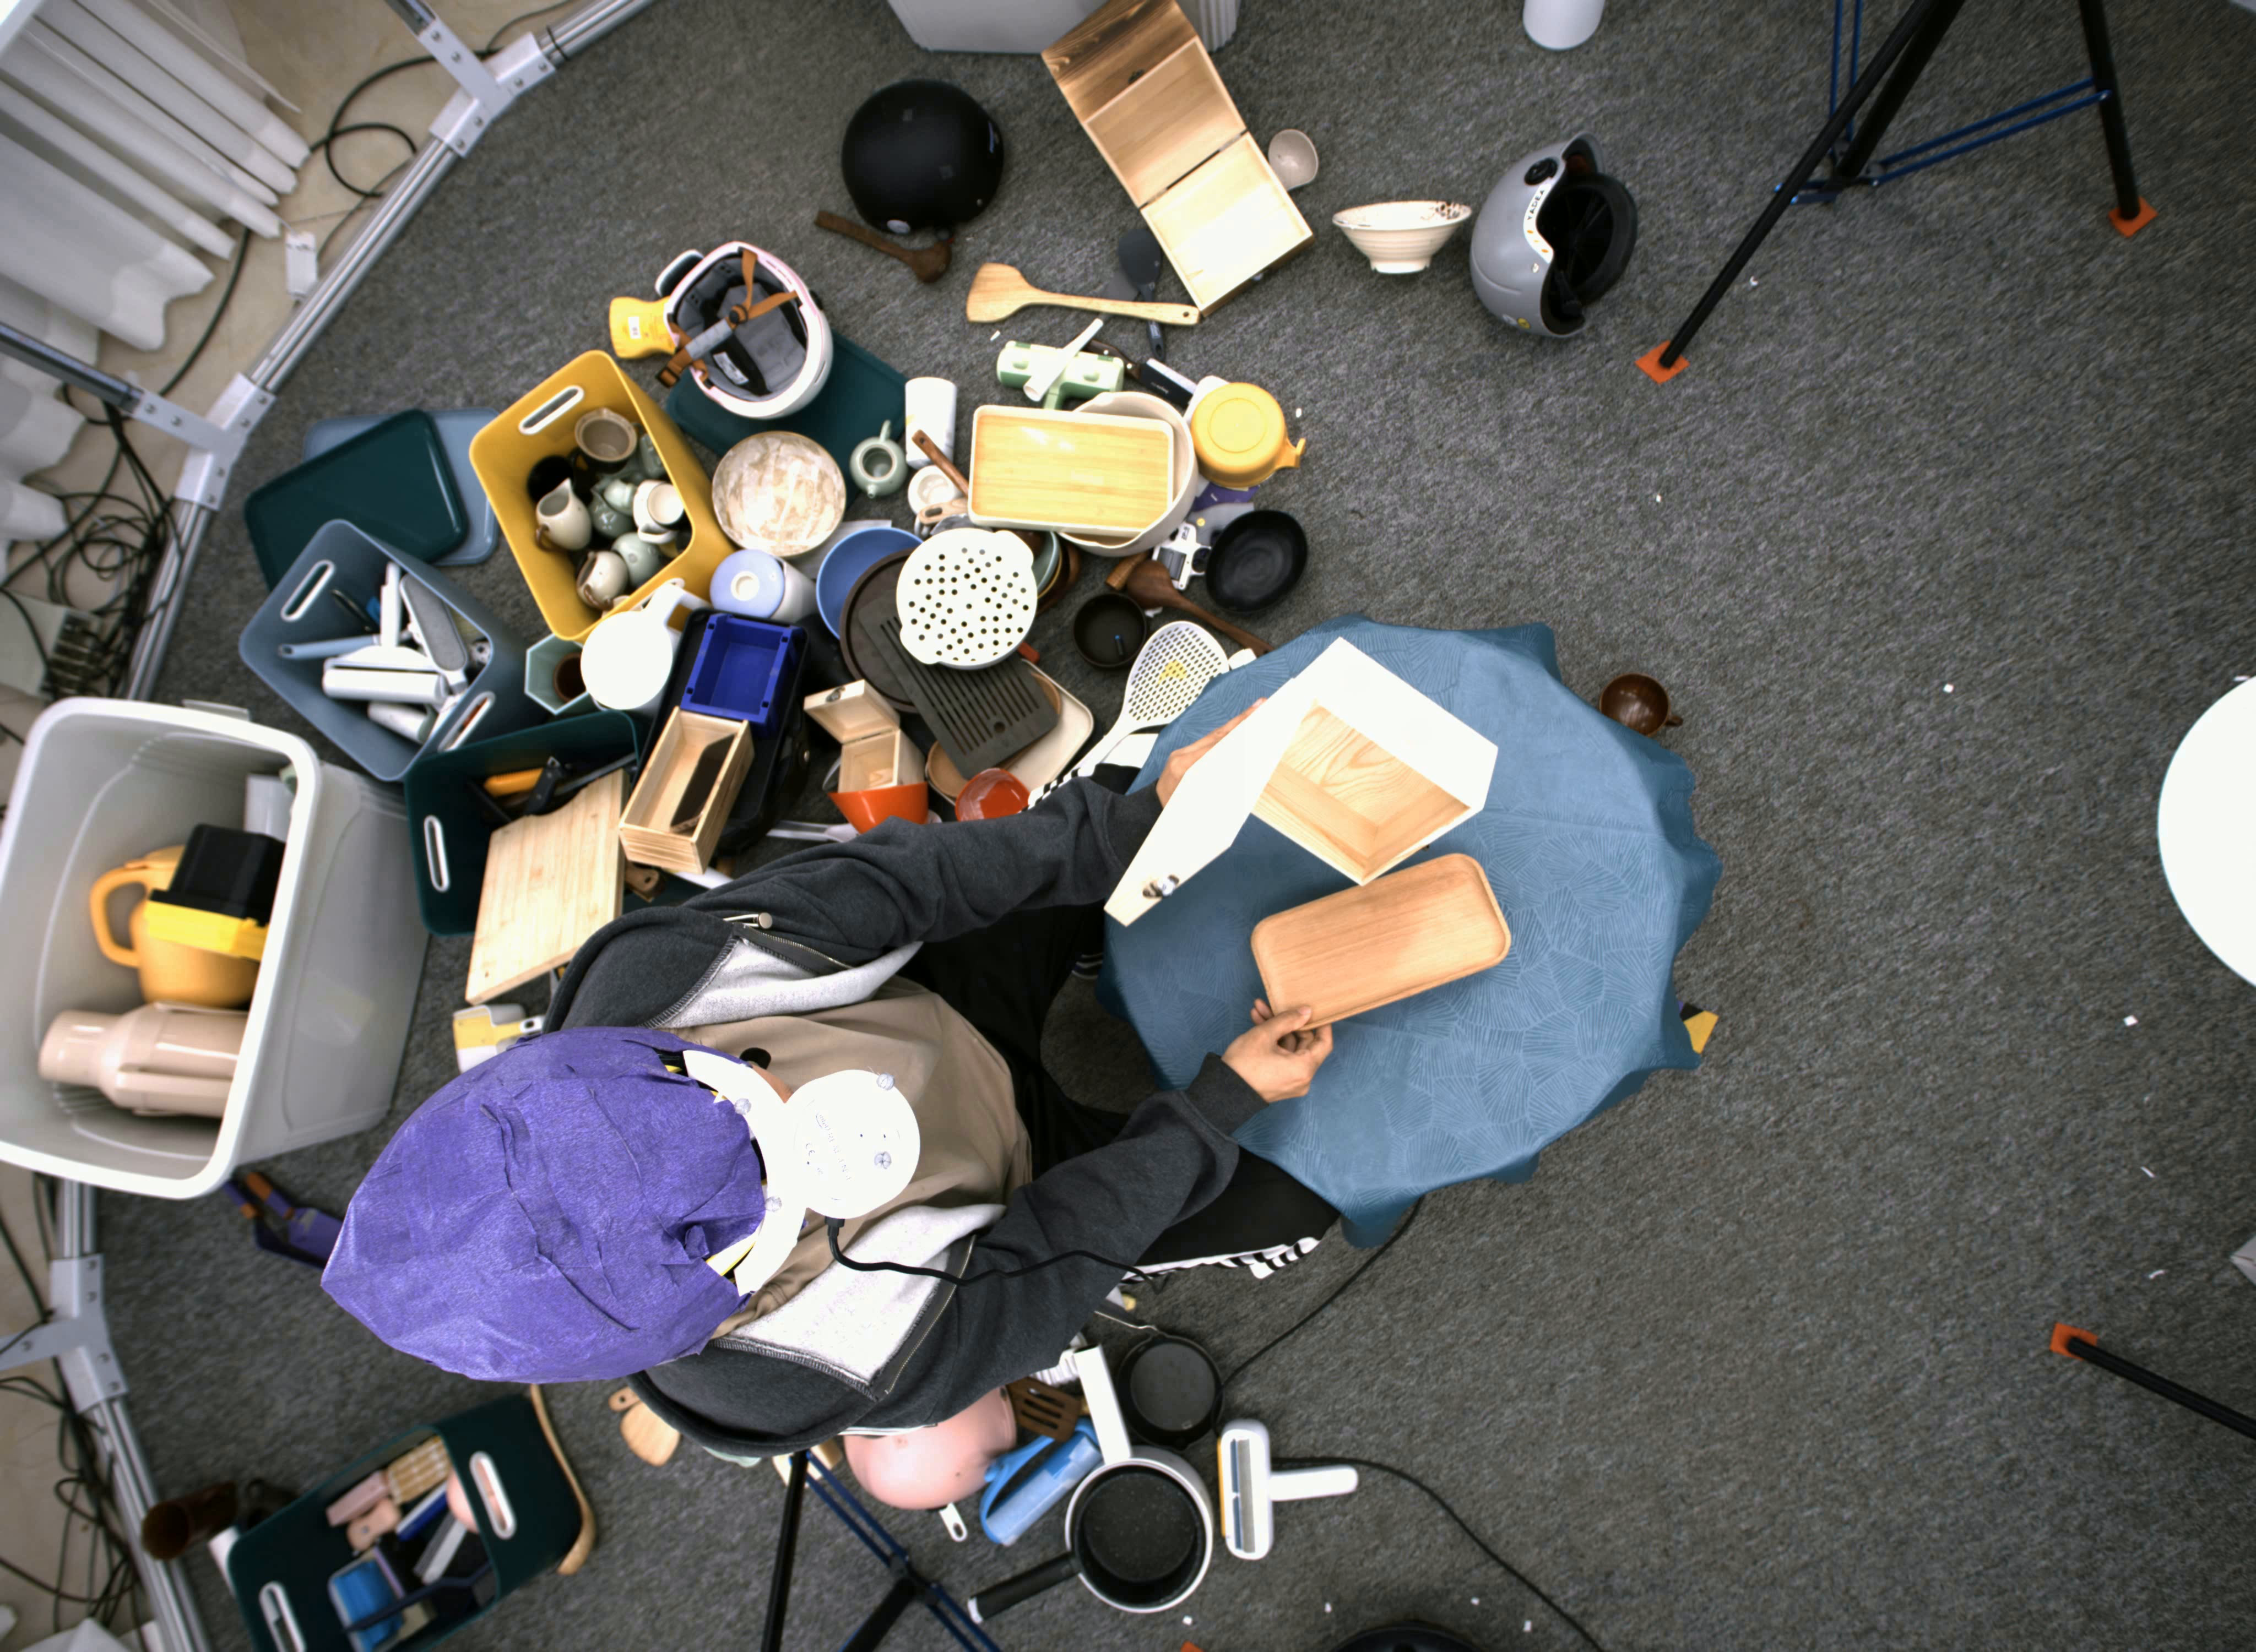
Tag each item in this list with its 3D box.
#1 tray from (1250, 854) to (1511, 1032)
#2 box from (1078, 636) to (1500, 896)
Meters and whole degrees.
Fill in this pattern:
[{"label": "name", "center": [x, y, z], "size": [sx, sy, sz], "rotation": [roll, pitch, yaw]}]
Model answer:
[{"label": "tray", "center": [0.255, 0.118, 1.406], "size": [0.252, 0.023, 0.128], "rotation": [-20, 64, 6]}, {"label": "box", "center": [0.147, -0.011, 1.210], "size": [0.266, 0.185, 0.247], "rotation": [33, 57, -11]}]
